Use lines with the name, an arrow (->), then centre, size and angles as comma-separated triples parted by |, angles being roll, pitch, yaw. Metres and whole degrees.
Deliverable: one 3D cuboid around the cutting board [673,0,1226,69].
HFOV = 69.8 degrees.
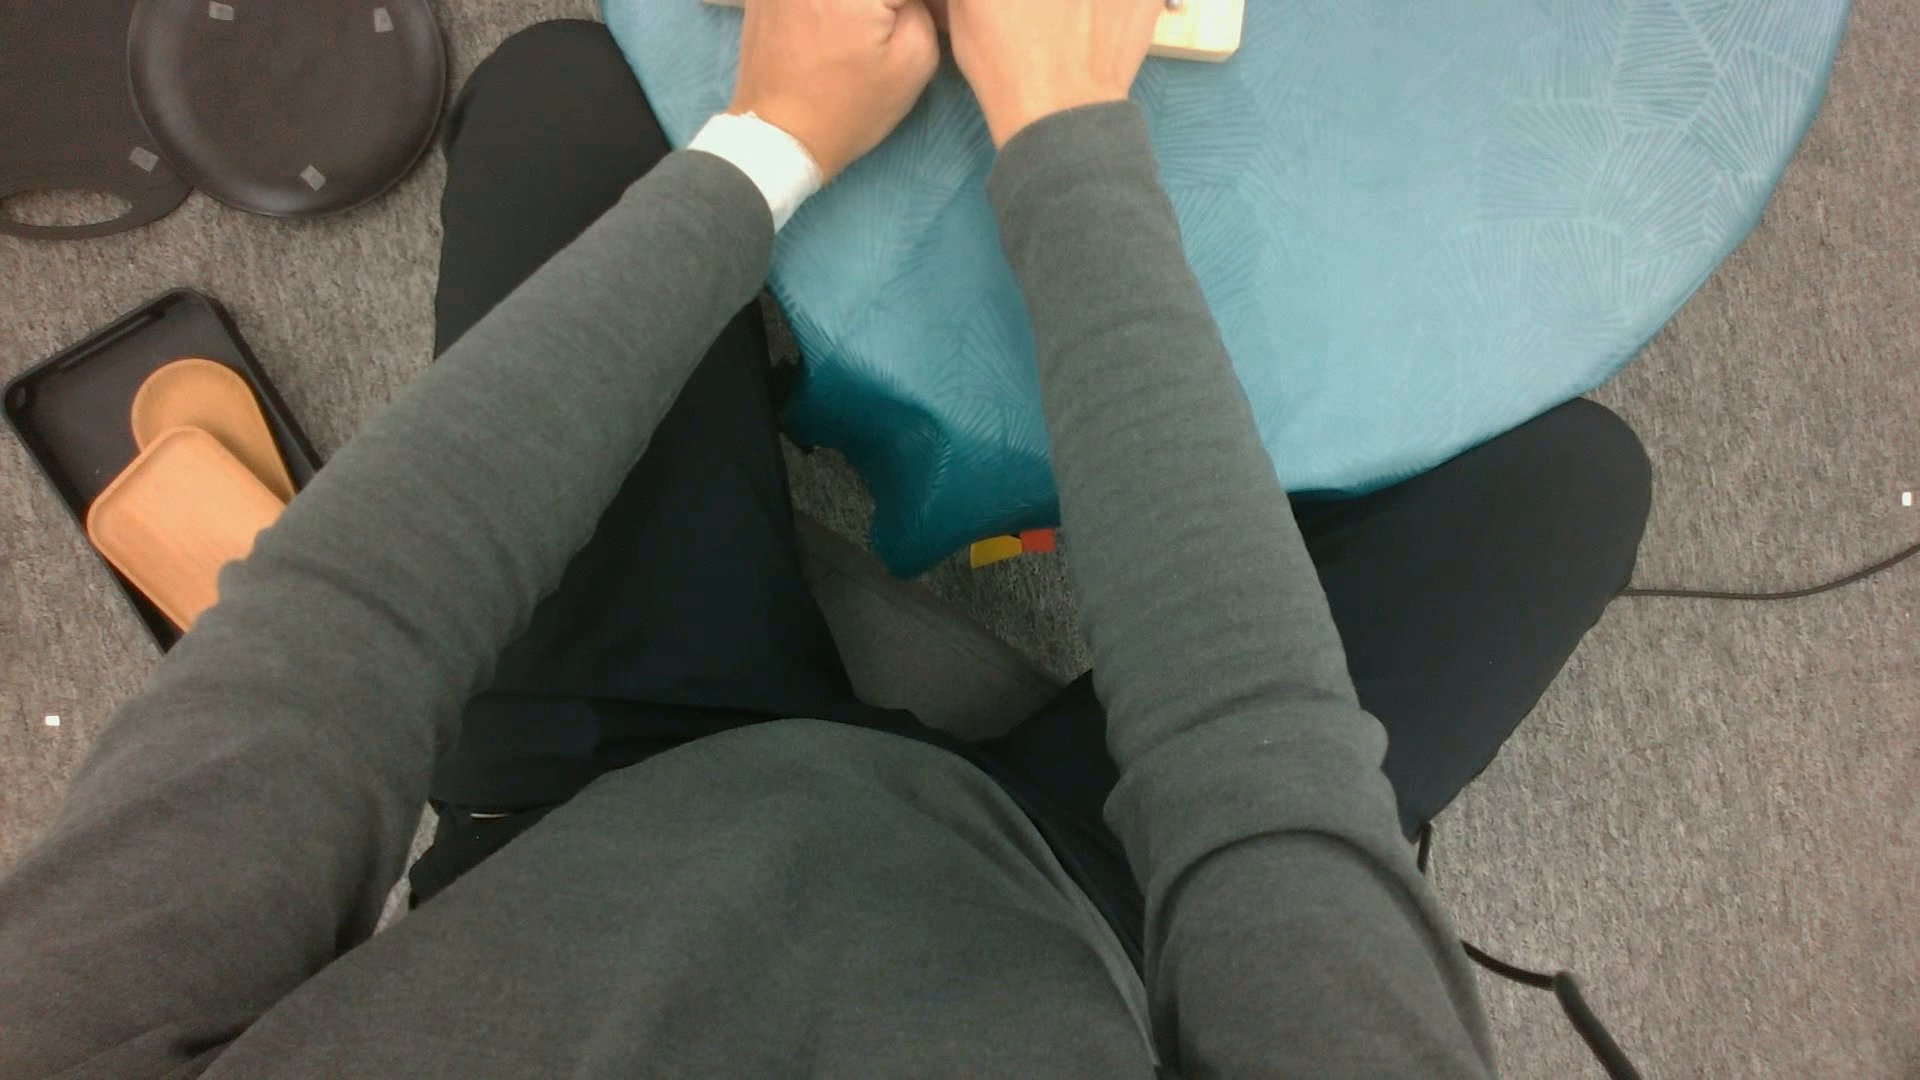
cutting board -> 0.011, -0.395, 0.600 | 0.251, 0.023, 0.348 | 3, 94, -5
